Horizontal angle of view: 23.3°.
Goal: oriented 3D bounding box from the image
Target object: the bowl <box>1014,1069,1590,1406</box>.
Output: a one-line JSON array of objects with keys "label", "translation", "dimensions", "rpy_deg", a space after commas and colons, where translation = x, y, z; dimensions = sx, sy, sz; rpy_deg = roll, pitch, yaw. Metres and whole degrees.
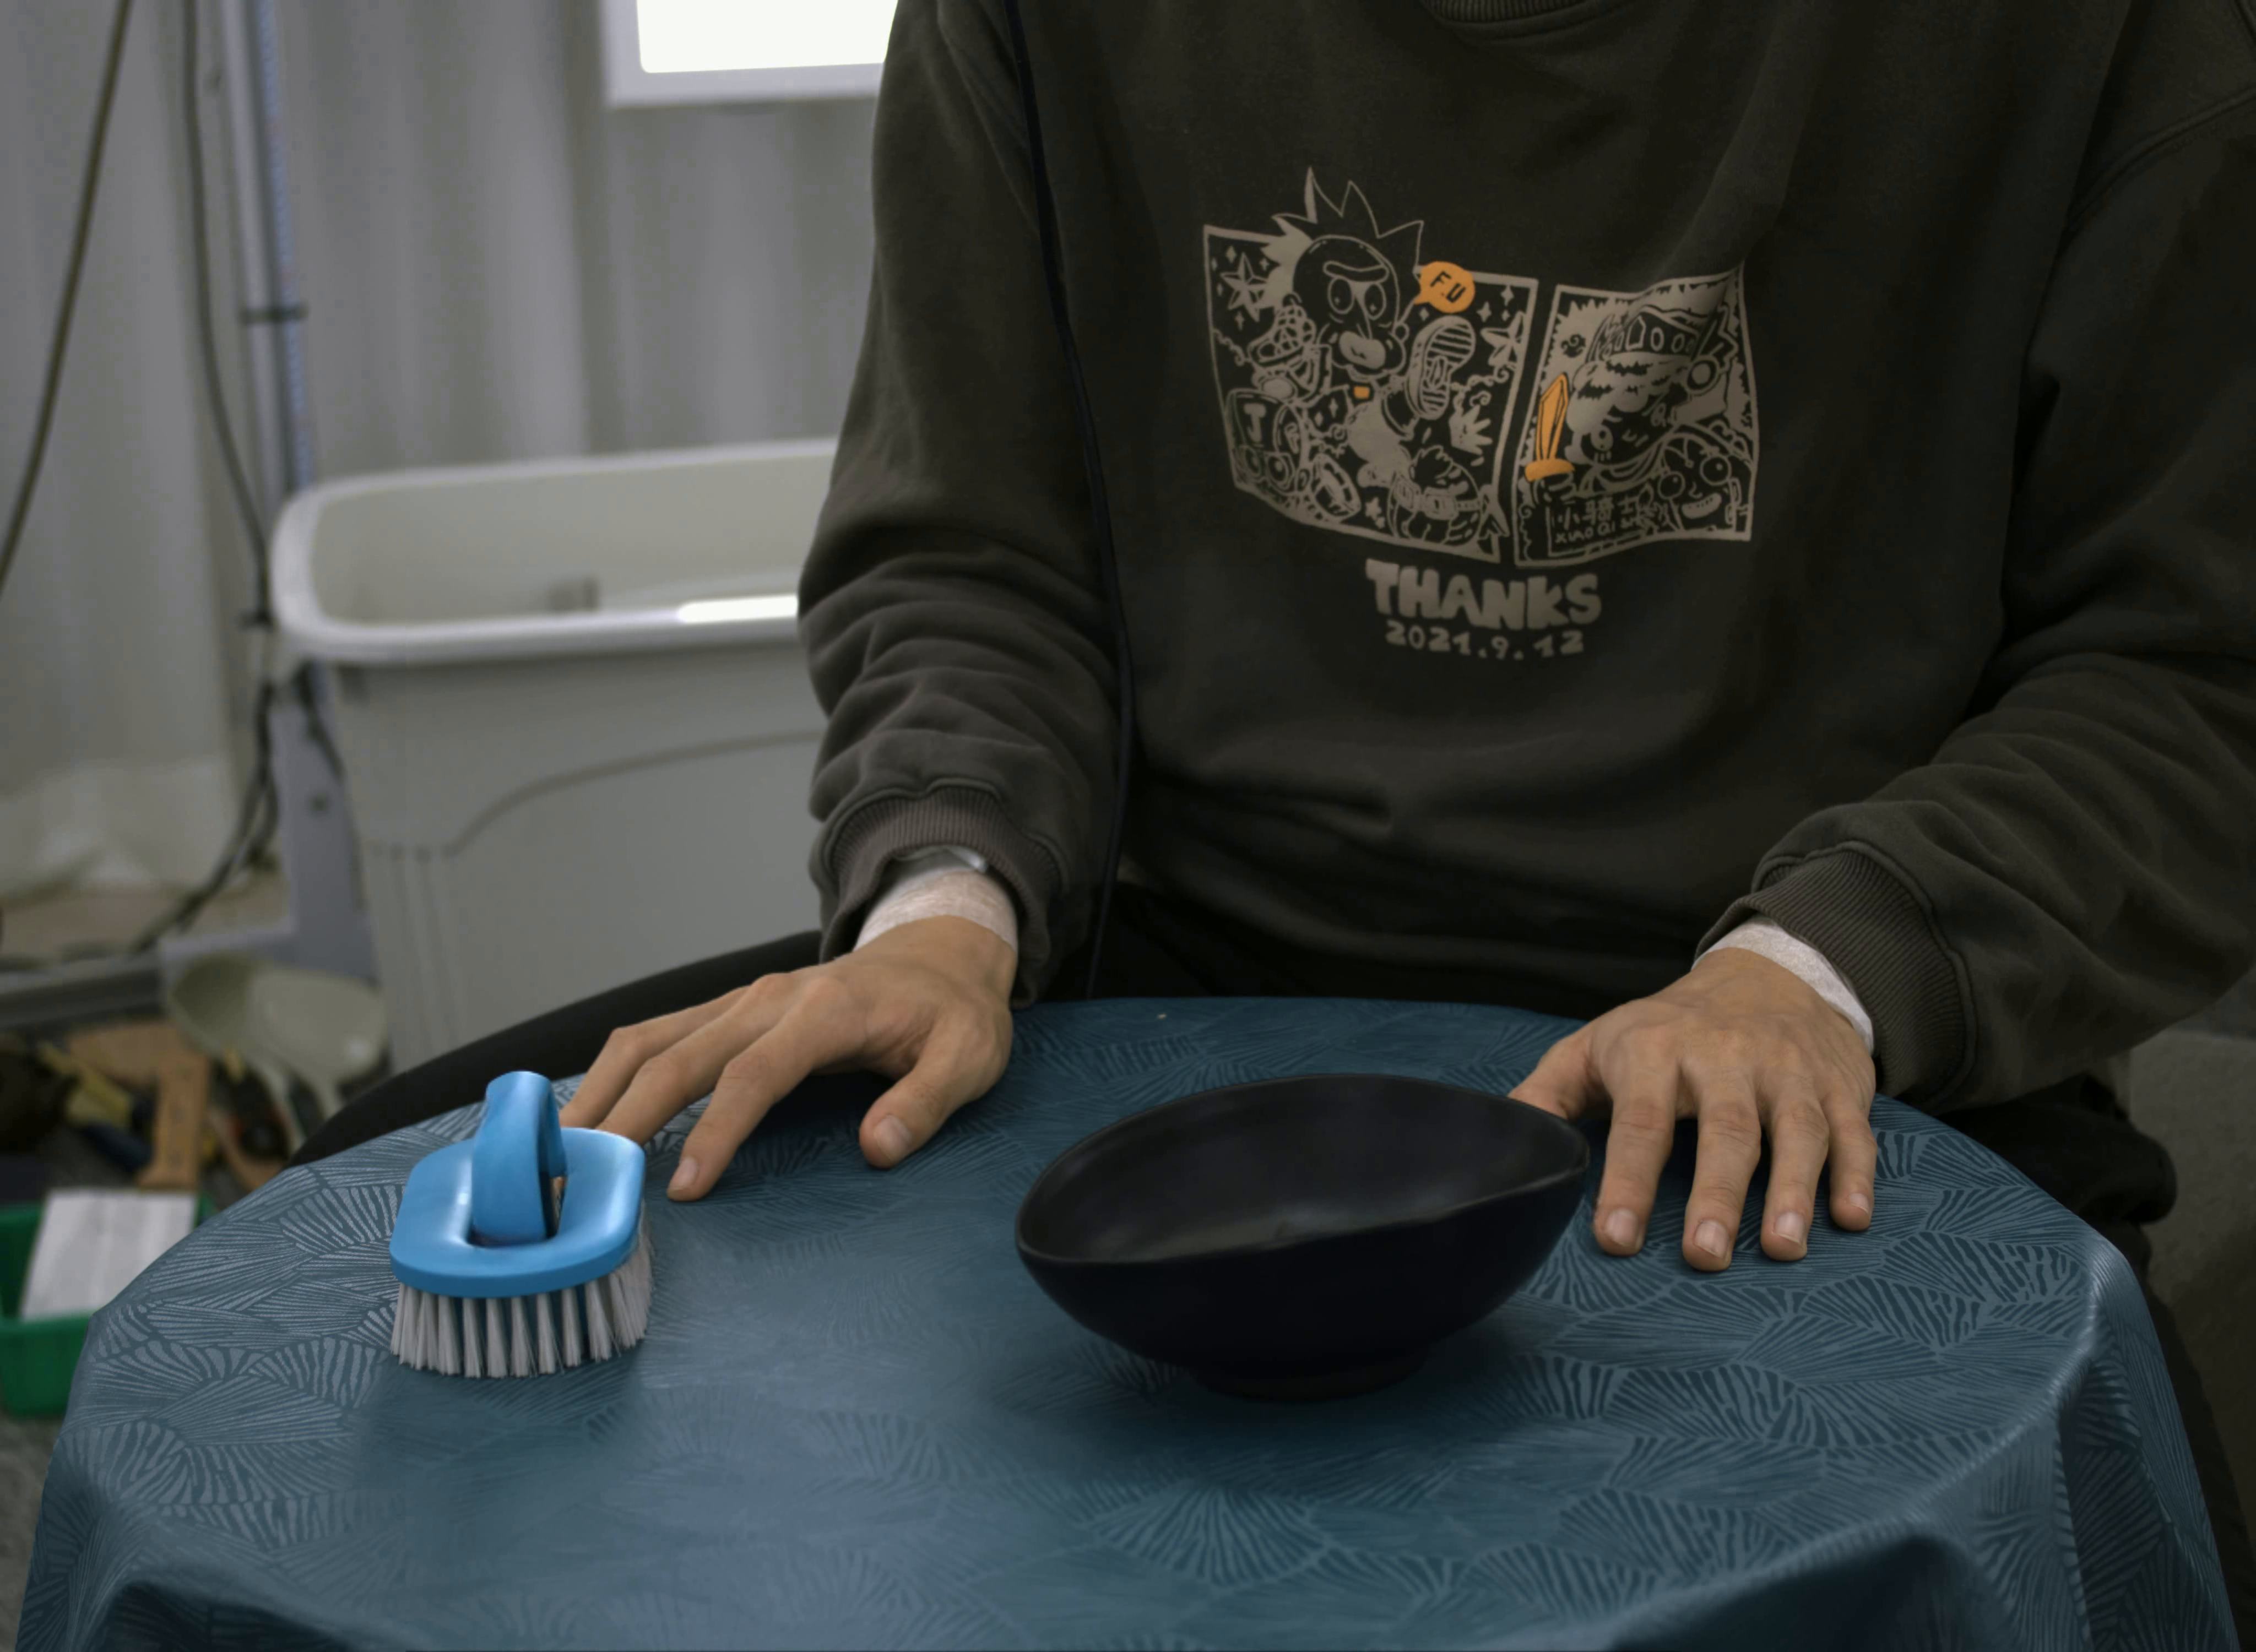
[{"label": "bowl", "translation": [0.052, 0.124, 1.559], "dimensions": [0.169, 0.066, 0.138], "rpy_deg": [-11, 16, -22]}]

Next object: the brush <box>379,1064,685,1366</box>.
[{"label": "brush", "translation": [-0.180, 0.111, 1.647], "dimensions": [0.084, 0.063, 0.143], "rpy_deg": [-7, 14, 2]}]
